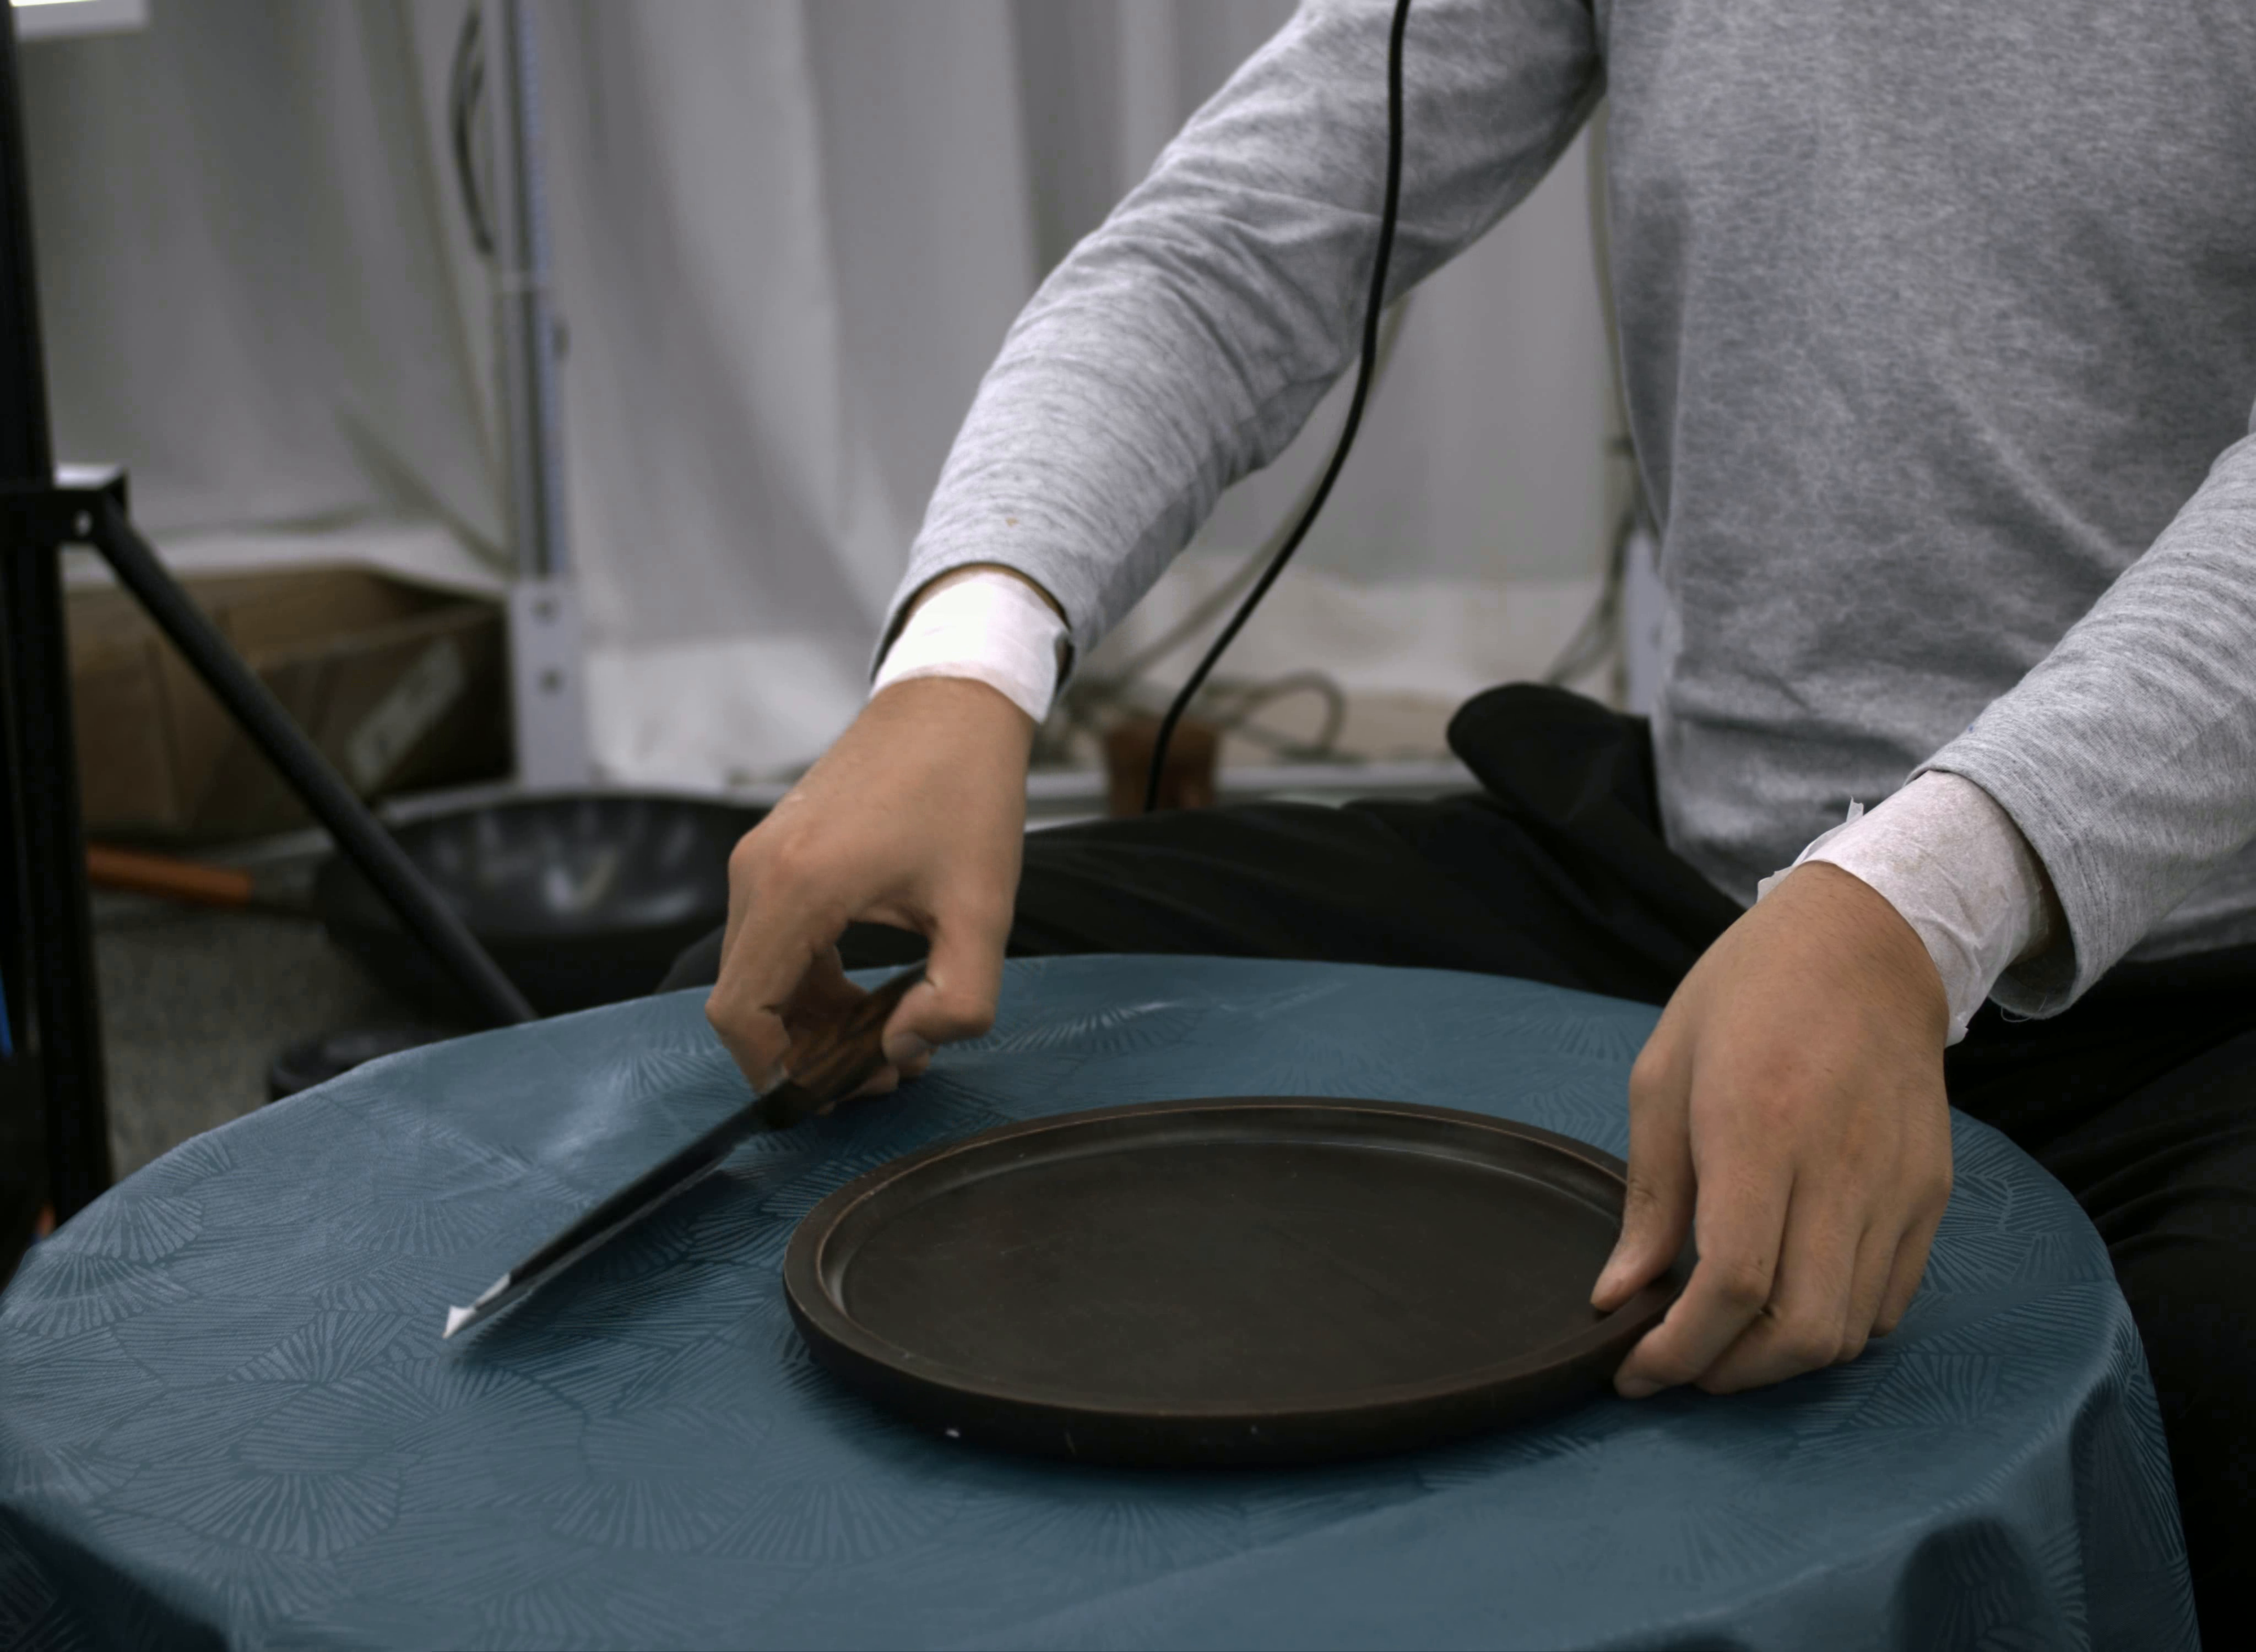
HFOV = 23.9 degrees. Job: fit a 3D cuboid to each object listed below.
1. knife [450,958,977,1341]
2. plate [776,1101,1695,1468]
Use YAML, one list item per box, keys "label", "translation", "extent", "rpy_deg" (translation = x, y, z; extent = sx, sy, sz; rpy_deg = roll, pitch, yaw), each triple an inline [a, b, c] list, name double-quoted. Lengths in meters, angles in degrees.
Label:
- label: "knife"
  translation: [-0.118, 0.094, 1.567]
  extent: [0.051, 0.020, 0.285]
  rpy_deg: [-44, -5, 33]
- label: "plate"
  translation: [0.030, 0.123, 1.459]
  extent: [0.253, 0.029, 0.256]
  rpy_deg: [-3, 14, -1]
